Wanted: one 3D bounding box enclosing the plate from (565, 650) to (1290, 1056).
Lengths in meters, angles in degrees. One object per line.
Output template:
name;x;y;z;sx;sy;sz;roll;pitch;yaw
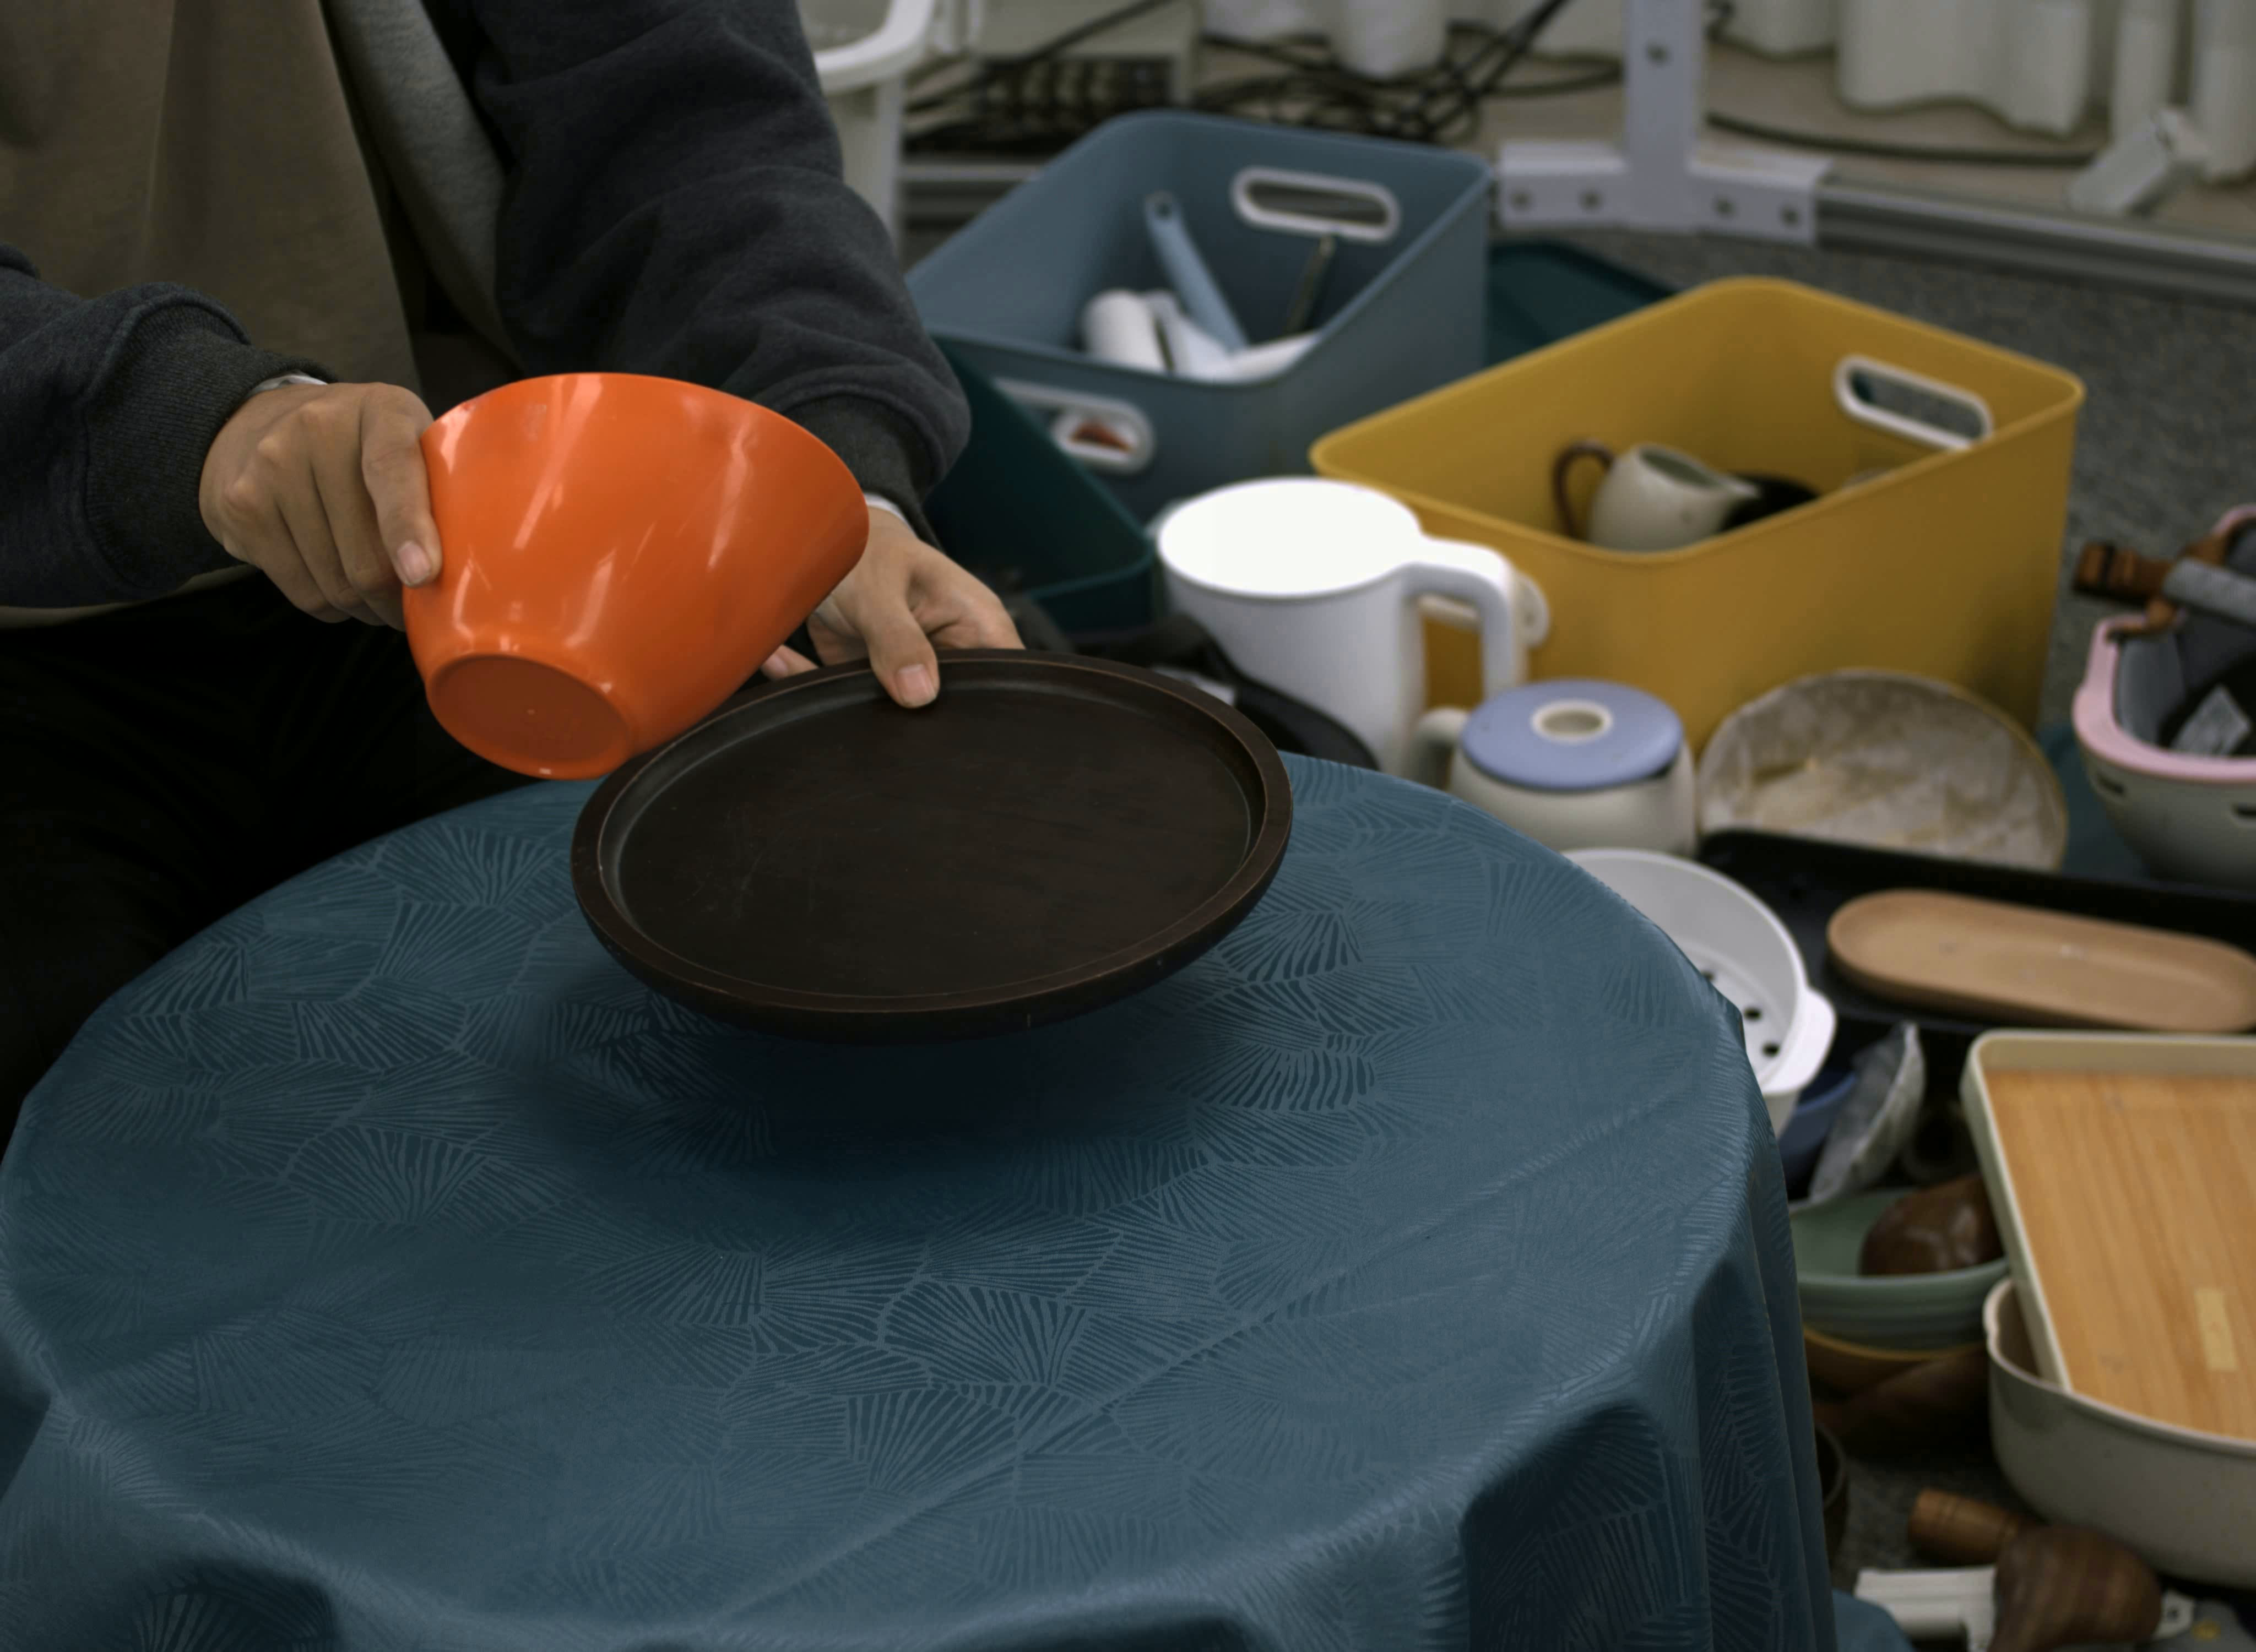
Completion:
plate;-0.068;0.007;1.953;0.253;0.029;0.259;-4;30;3

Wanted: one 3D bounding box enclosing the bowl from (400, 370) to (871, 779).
bowl;-0.166;-0.071;1.784;0.147;0.146;0.107;6;56;16
